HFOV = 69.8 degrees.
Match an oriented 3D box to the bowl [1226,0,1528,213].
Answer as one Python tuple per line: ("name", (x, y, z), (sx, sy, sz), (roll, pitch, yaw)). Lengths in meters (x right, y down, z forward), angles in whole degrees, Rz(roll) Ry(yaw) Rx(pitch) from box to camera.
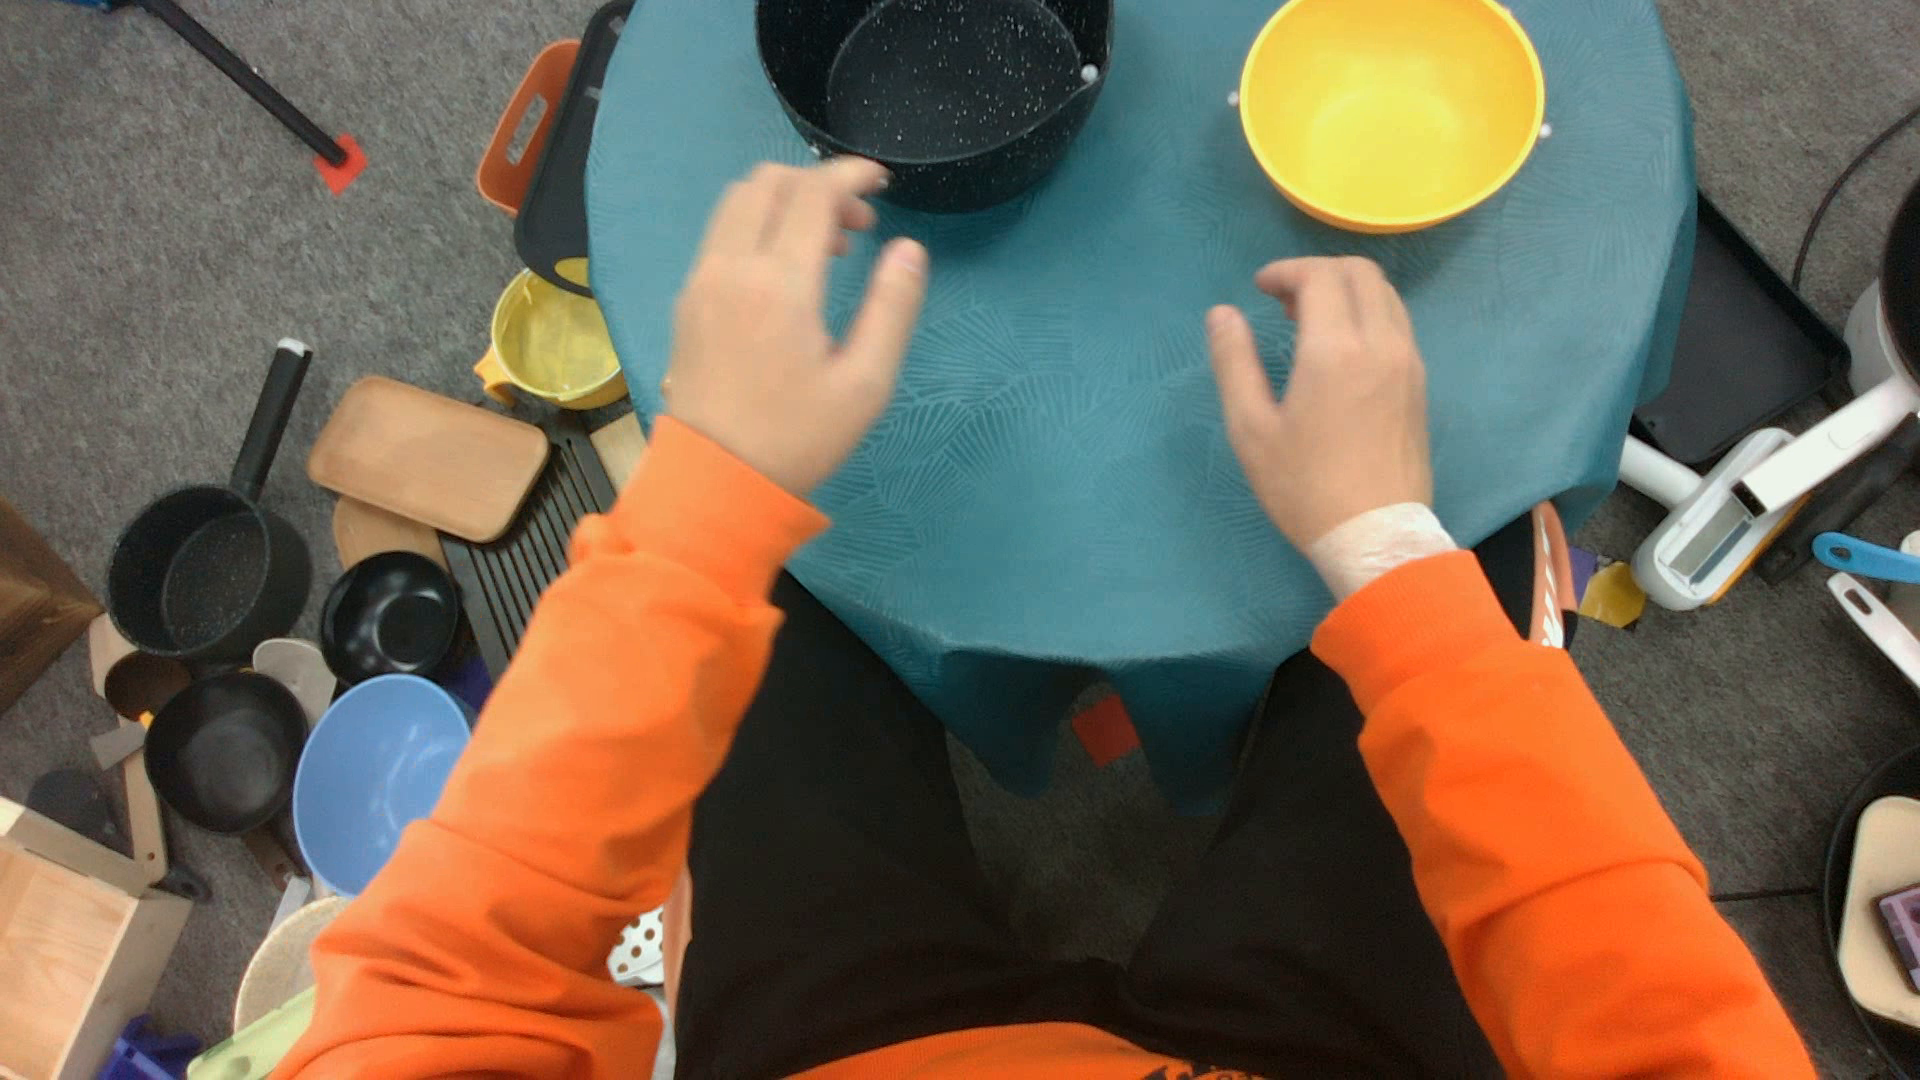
("bowl", (0.209, -0.224, 0.707), (0.145, 0.060, 0.145), (-2, 75, 8))

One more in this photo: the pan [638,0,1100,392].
("pan", (-0.054, -0.208, 0.710), (0.207, 0.108, 0.343), (25, 78, 11))
